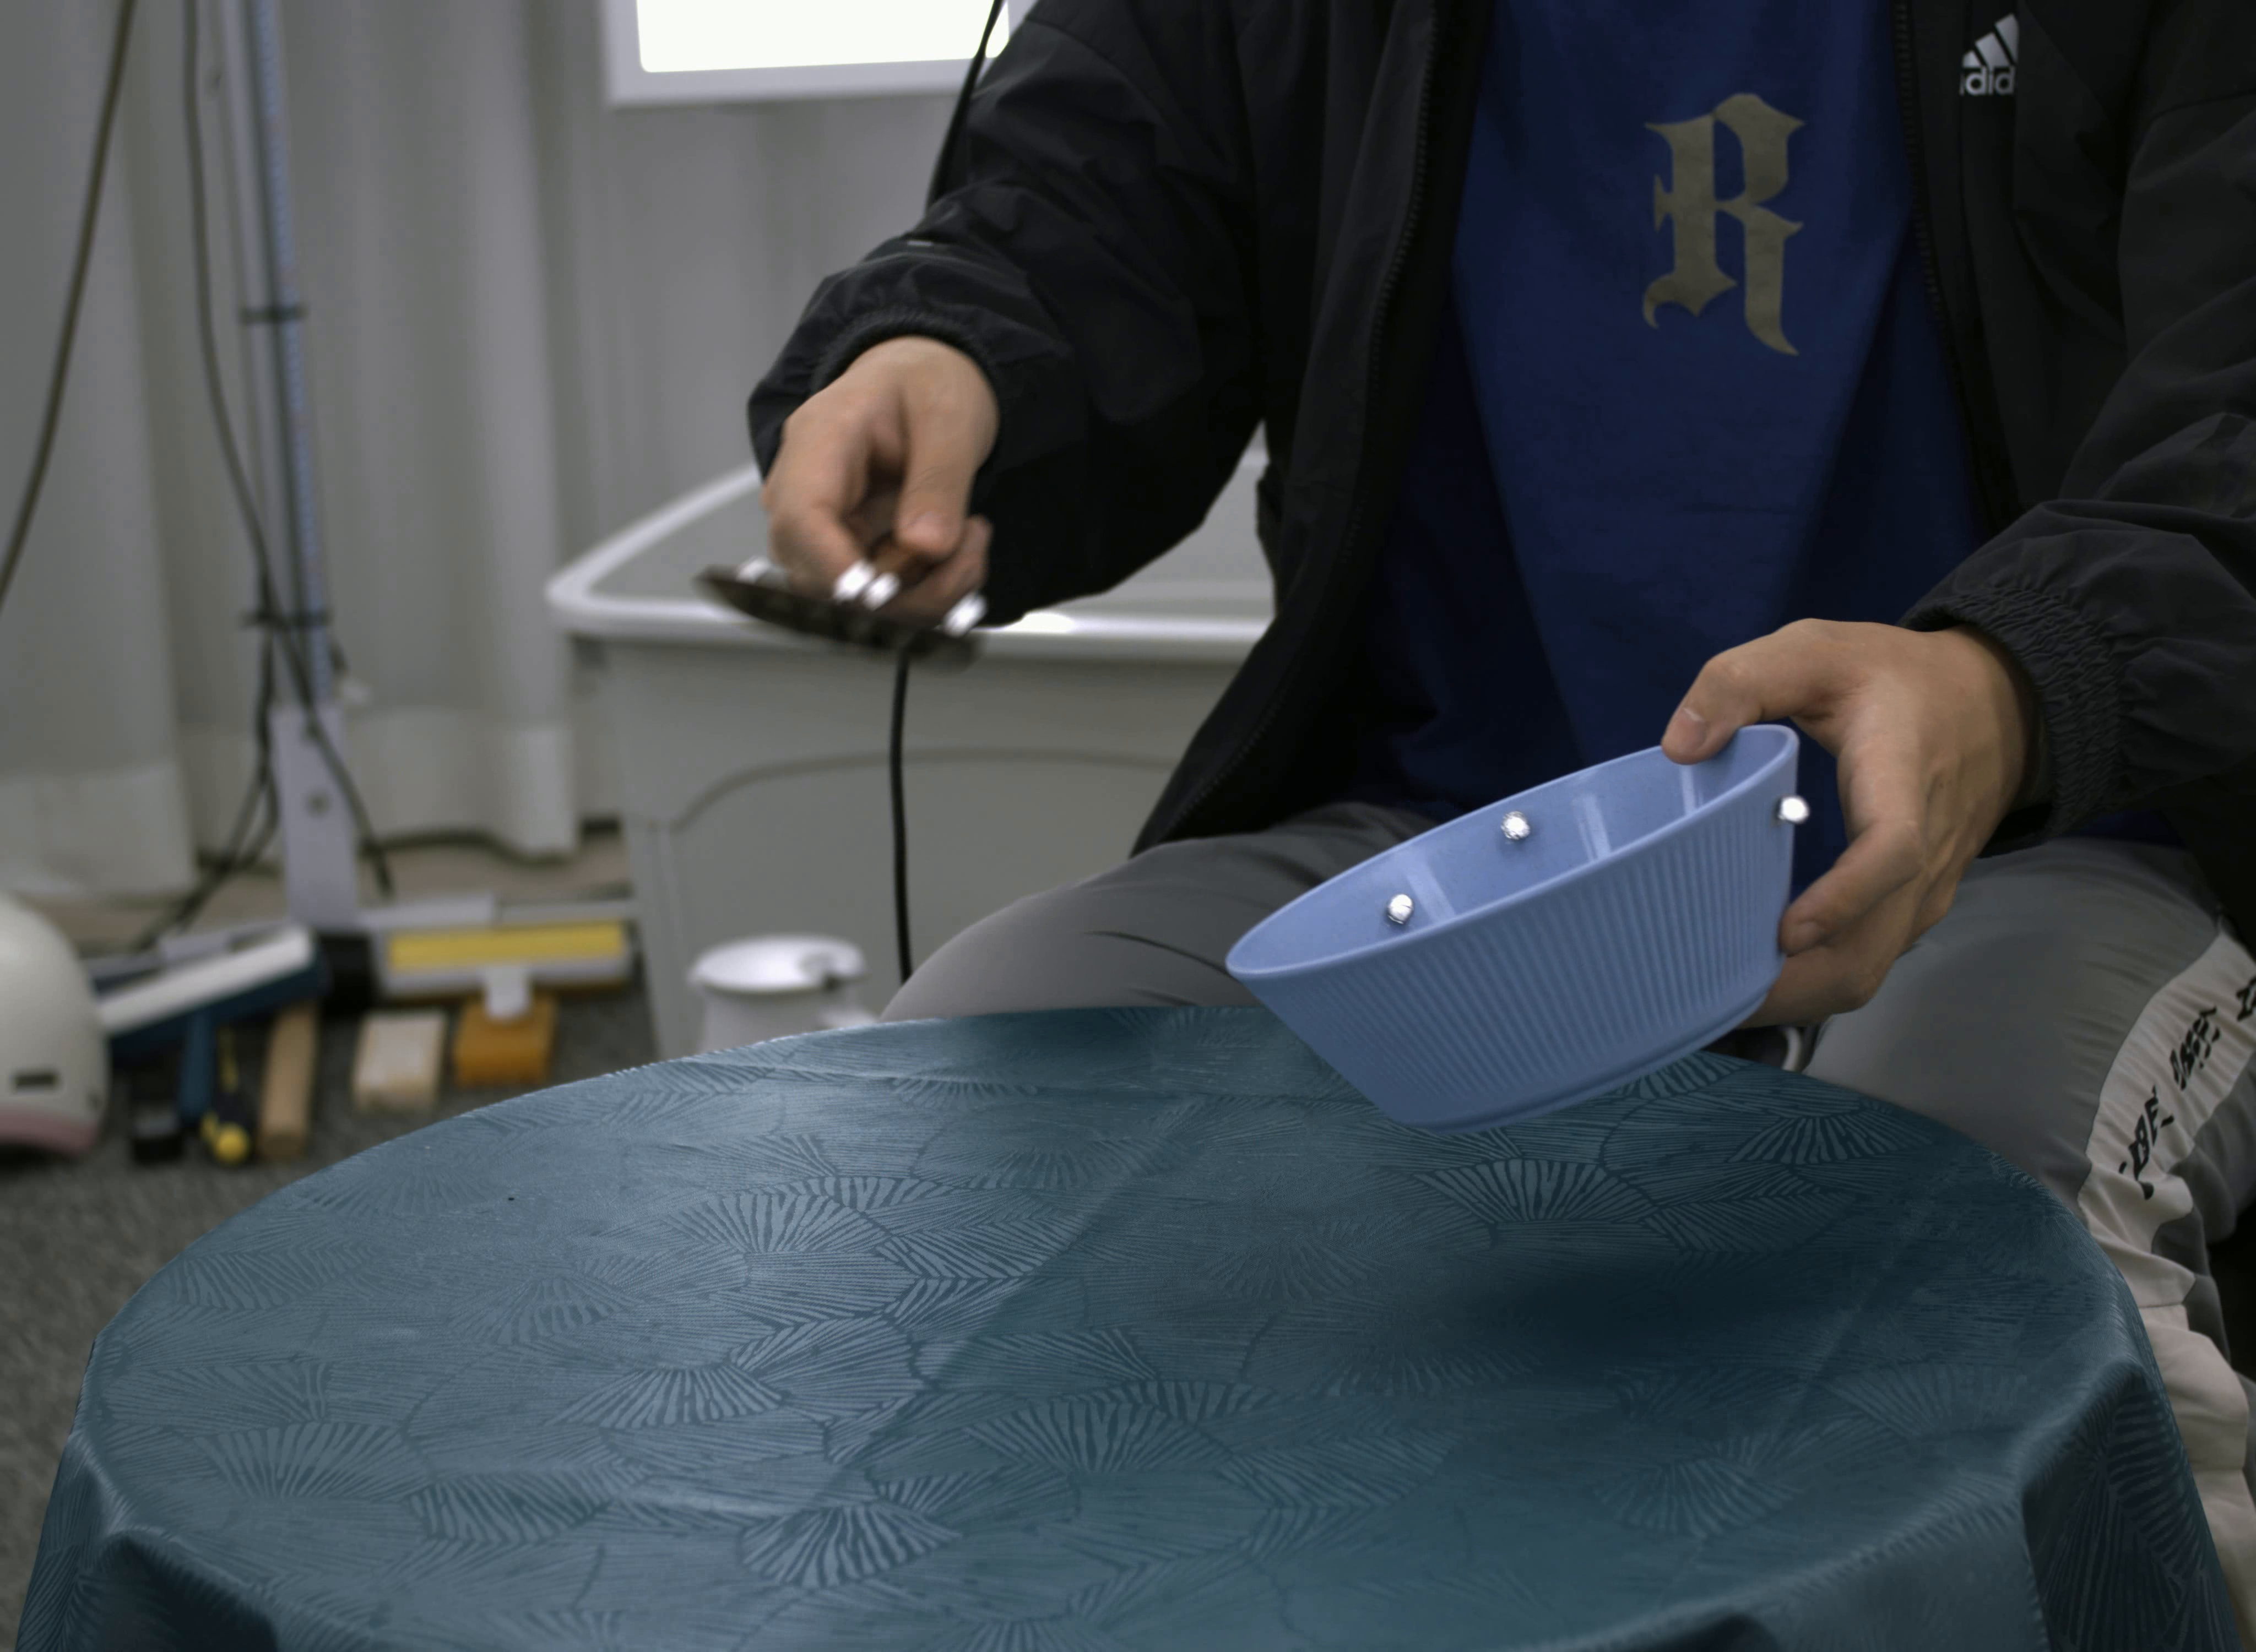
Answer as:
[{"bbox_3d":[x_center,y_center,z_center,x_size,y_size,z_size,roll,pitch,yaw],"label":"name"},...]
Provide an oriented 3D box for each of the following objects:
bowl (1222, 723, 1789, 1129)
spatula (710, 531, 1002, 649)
[{"bbox_3d":[0.119,0.034,1.568,0.175,0.070,0.176,-22,6,2],"label":"bowl"},{"bbox_3d":[-0.073,-0.078,1.727,0.085,0.024,0.387,13,5,1],"label":"spatula"}]
